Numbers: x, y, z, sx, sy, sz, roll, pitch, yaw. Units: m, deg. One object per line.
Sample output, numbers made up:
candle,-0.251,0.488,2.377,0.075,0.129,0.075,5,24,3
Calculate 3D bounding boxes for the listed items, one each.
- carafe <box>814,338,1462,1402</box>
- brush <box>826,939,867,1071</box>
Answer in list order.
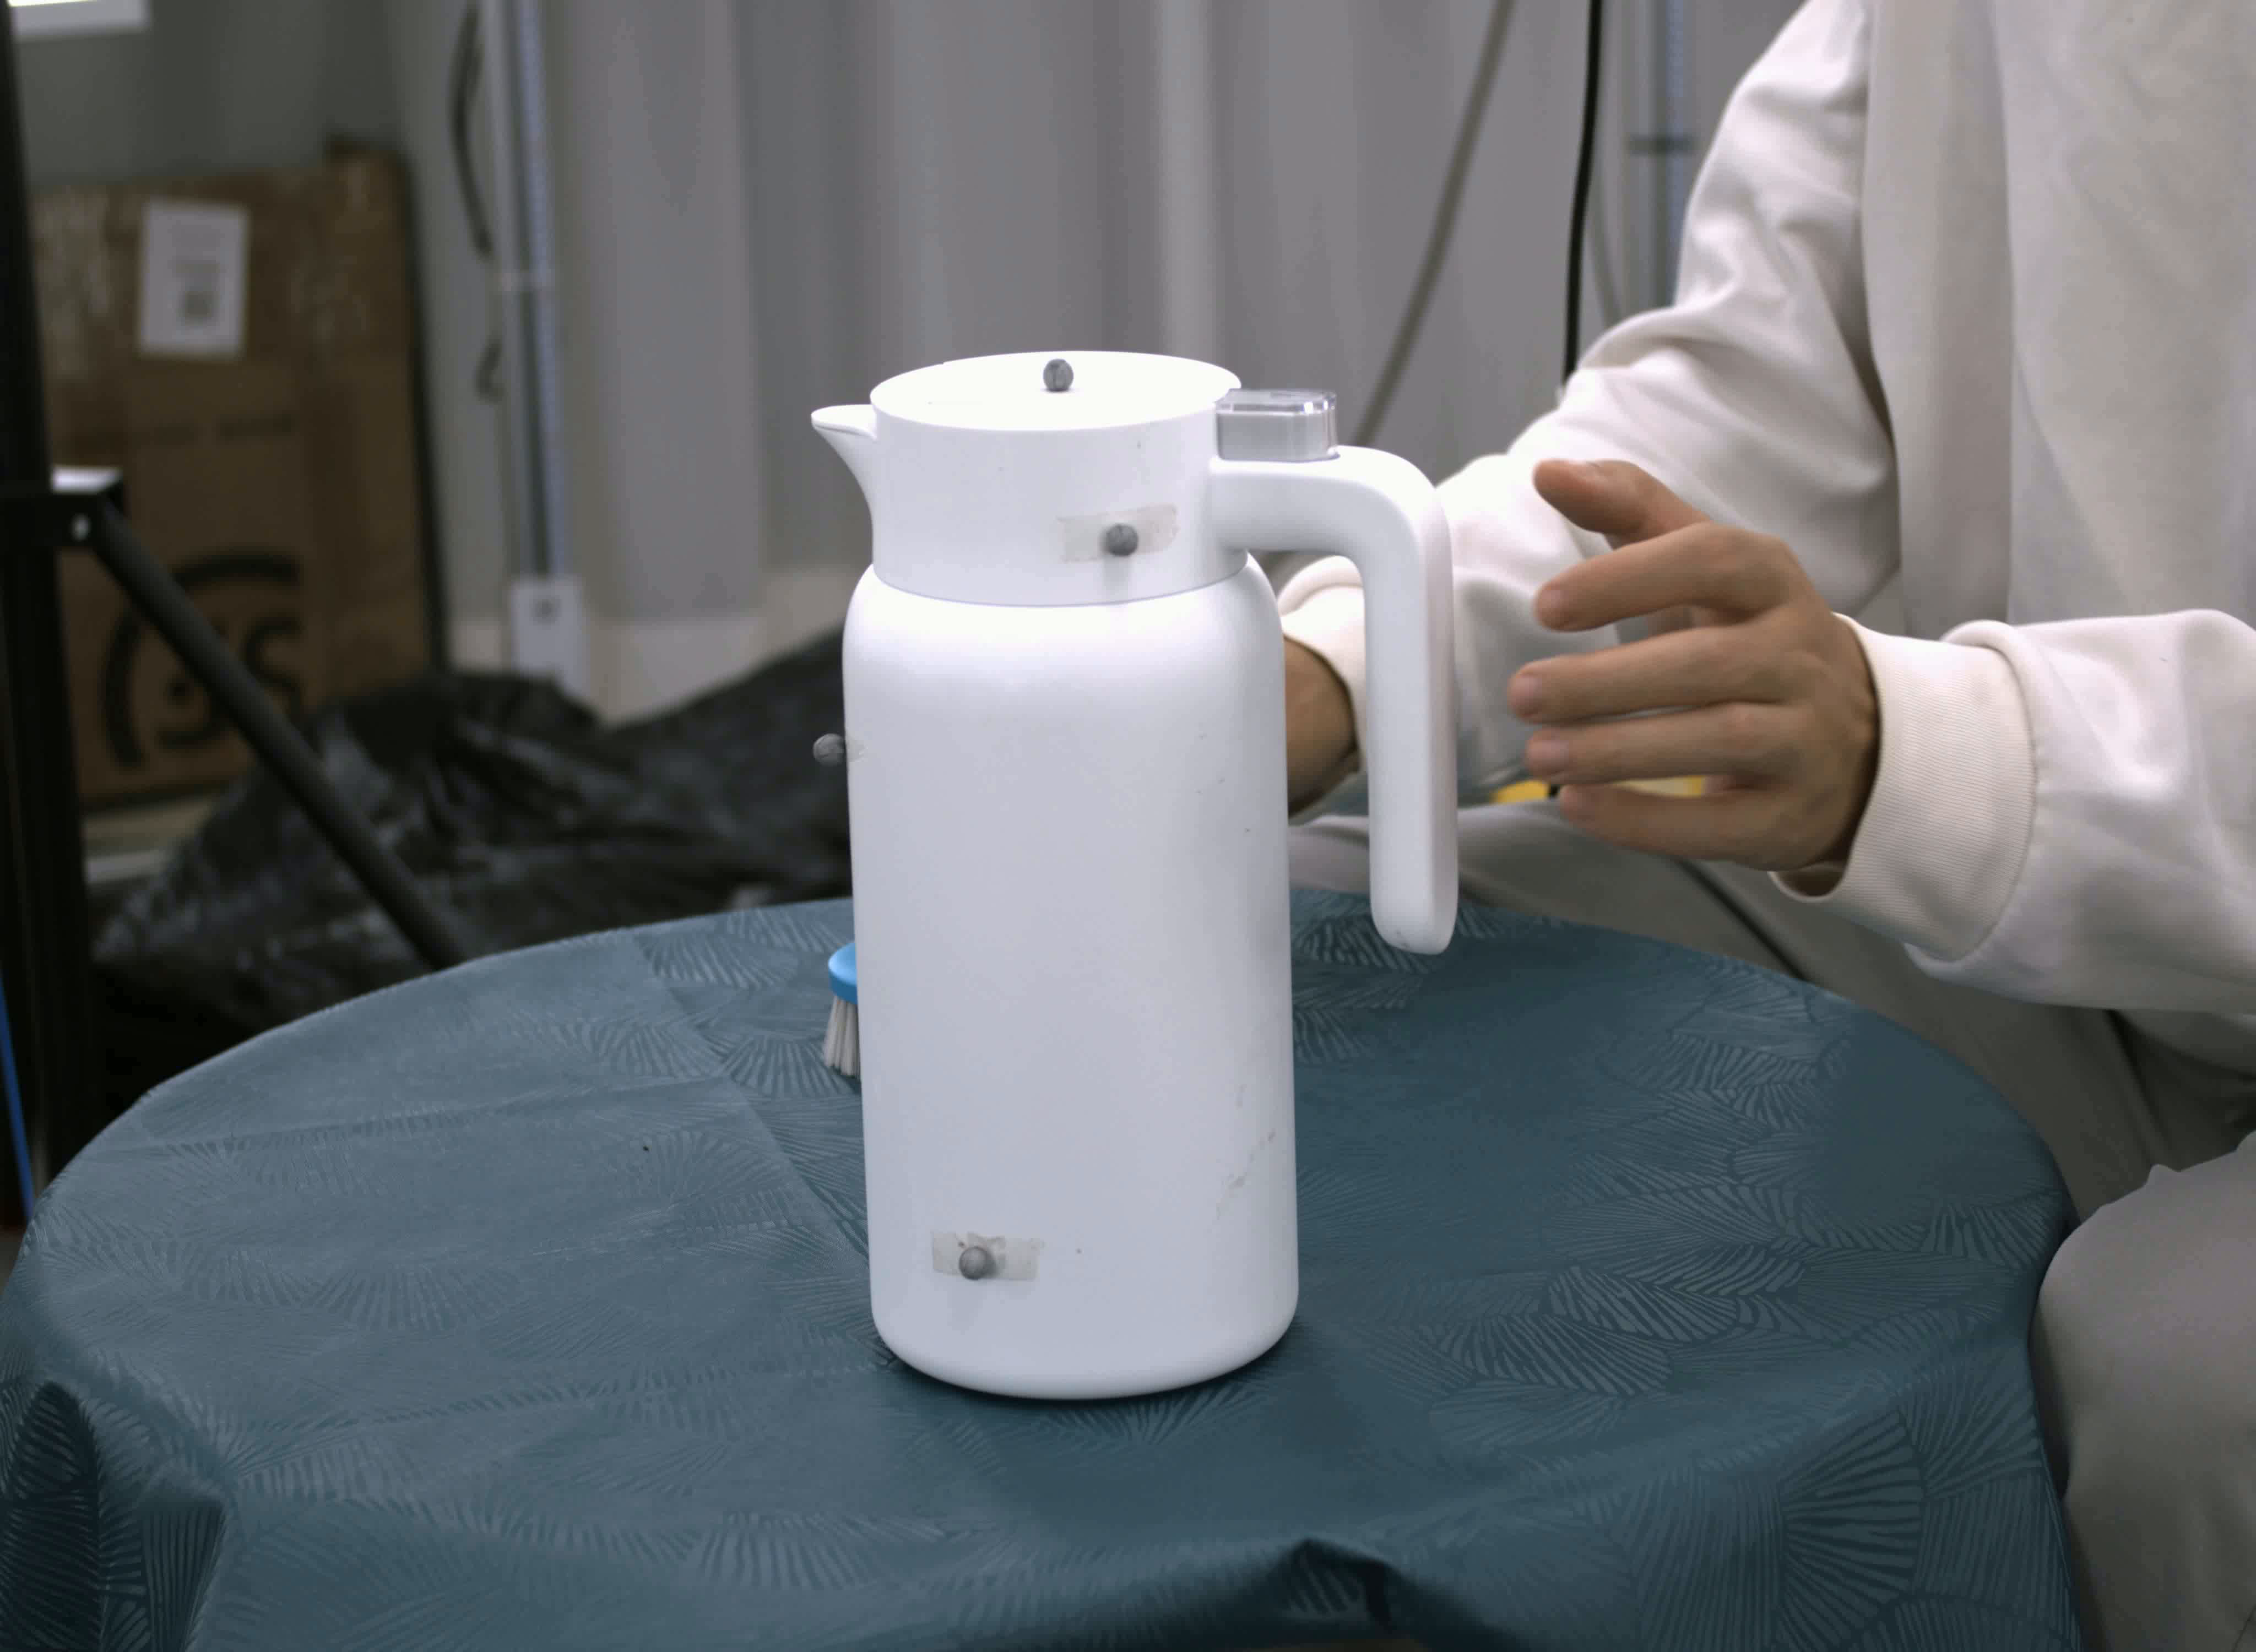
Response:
carafe,0.003,0.012,1.412,0.174,0.269,0.122,3,14,18
brush,-0.044,0.033,1.714,0.086,0.064,0.139,1,14,28
